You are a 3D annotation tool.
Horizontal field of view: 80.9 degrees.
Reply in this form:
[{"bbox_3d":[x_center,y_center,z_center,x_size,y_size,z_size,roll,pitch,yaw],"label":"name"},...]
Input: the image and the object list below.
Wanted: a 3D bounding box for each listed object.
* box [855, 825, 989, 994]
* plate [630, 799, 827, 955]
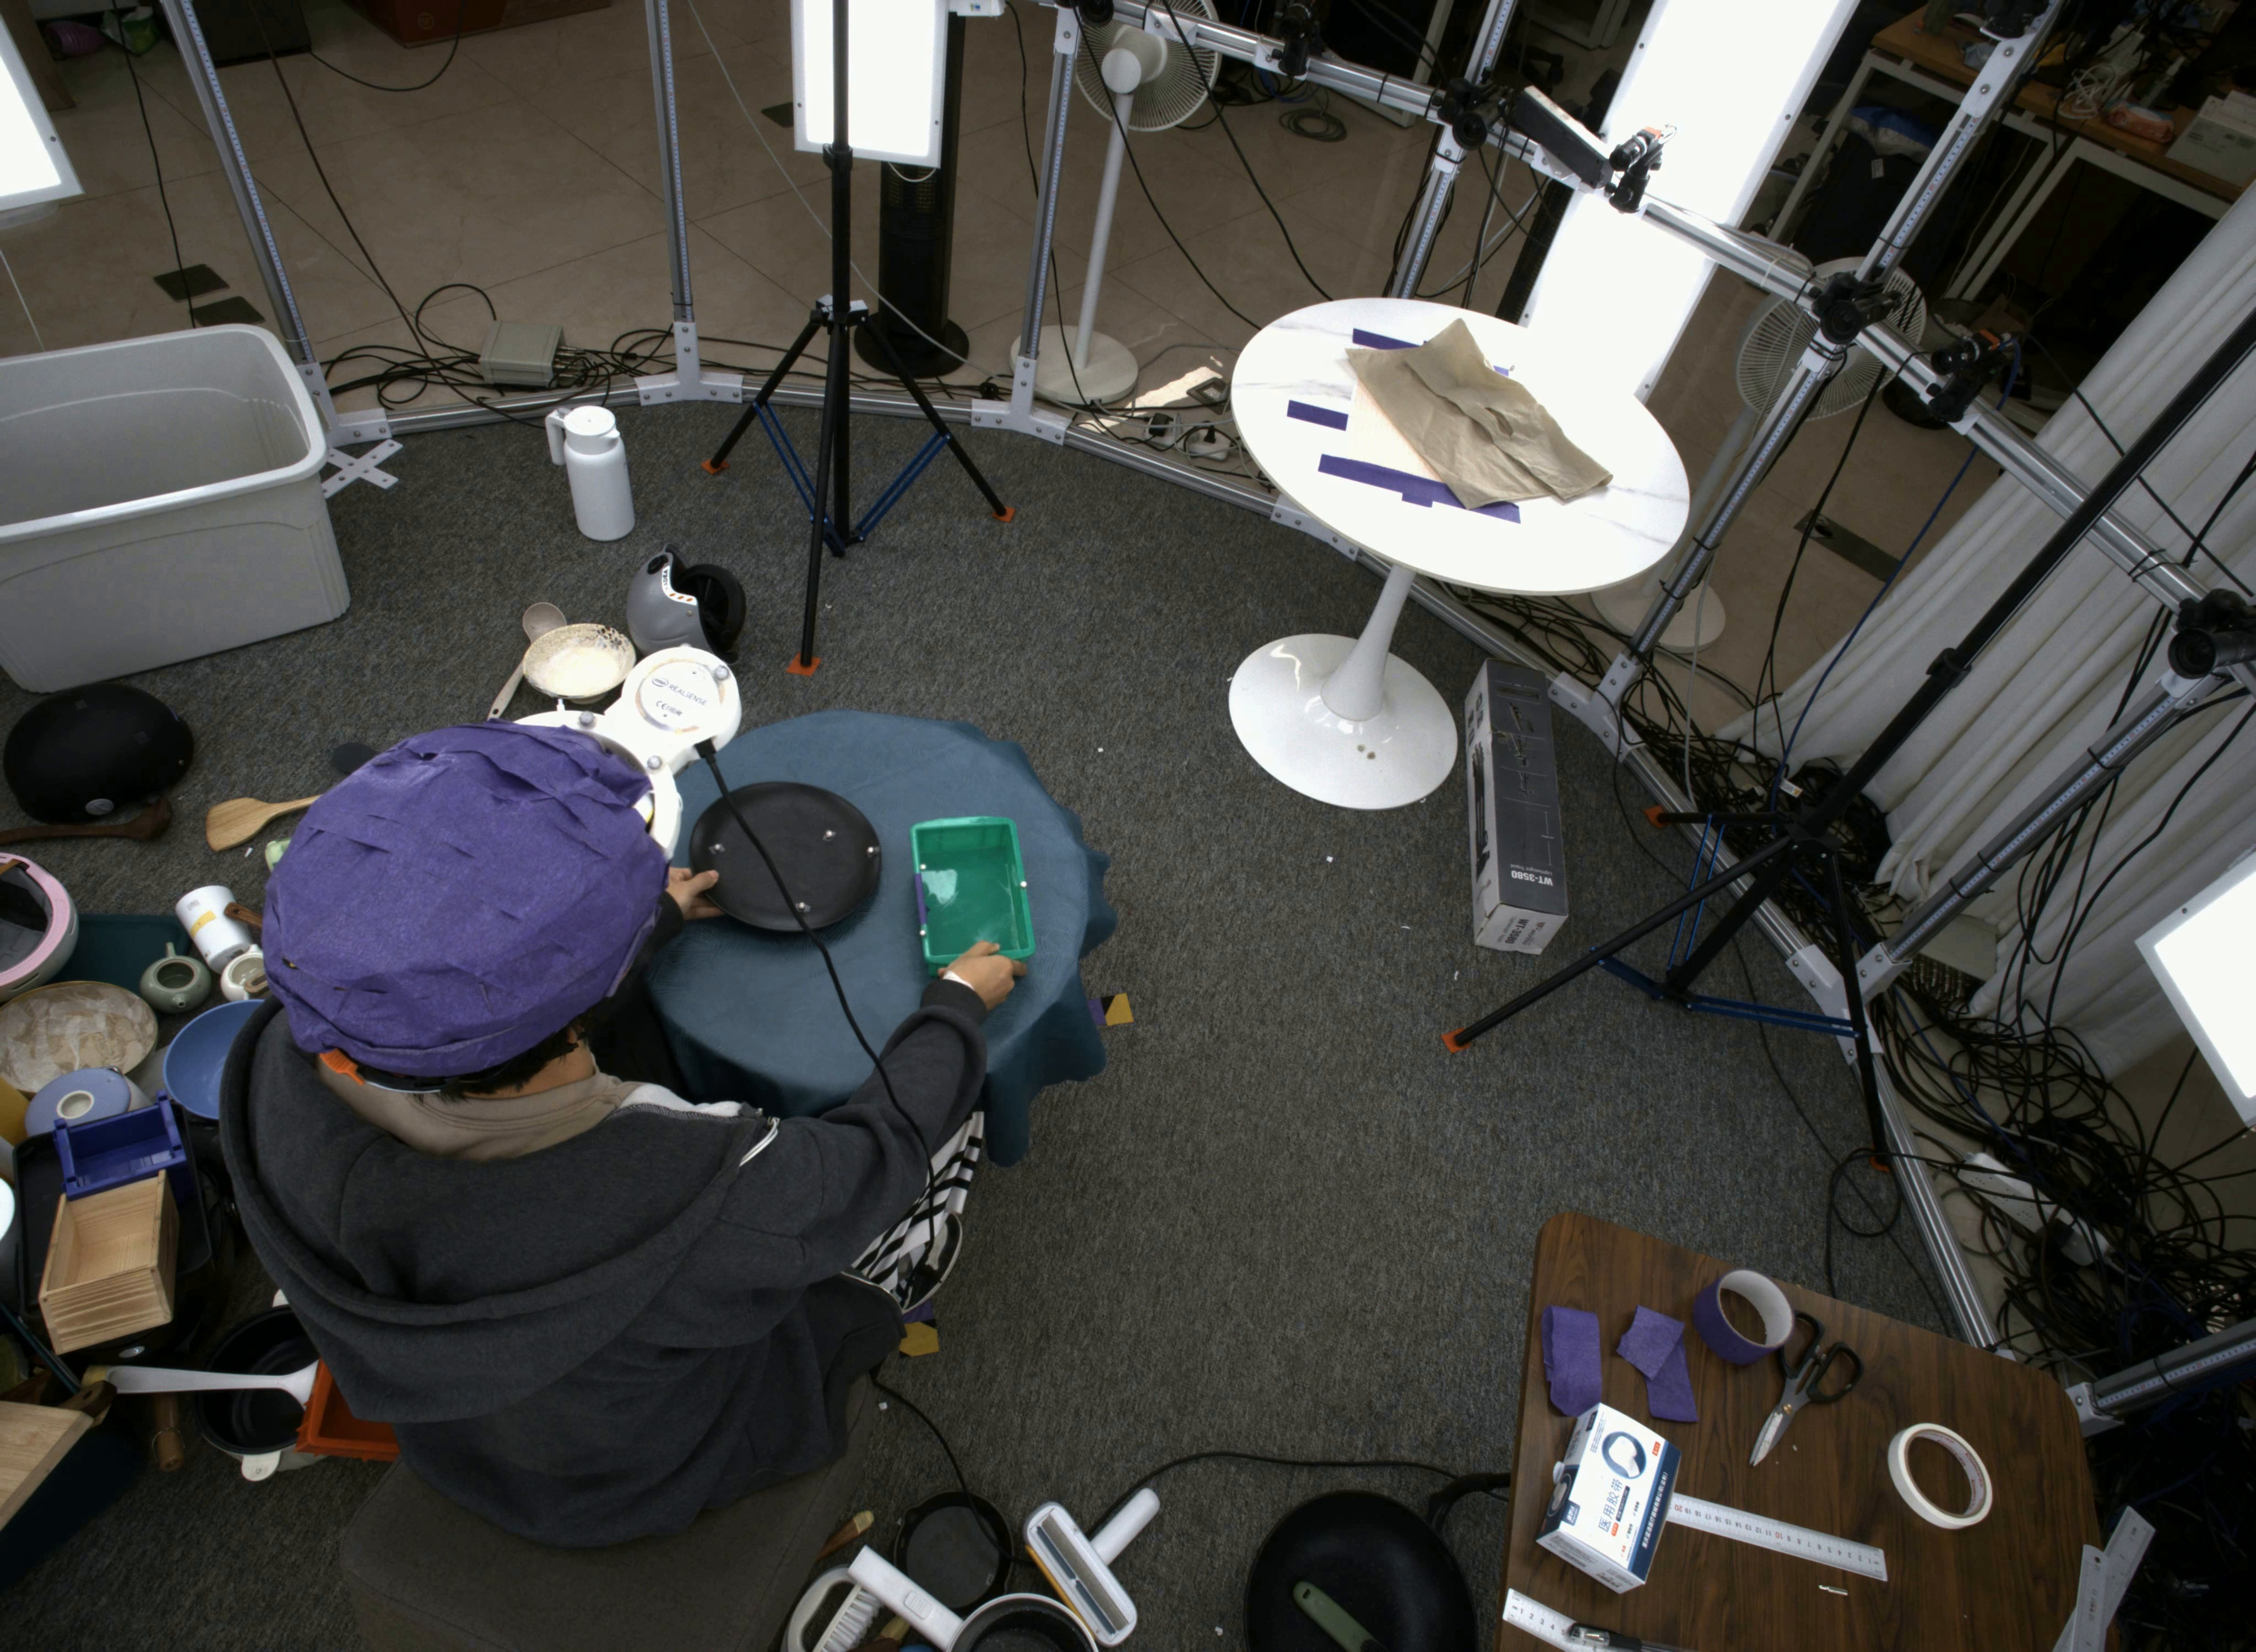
[{"bbox_3d":[-0.262,0.106,1.640,0.139,0.066,0.207,-9,64,-17],"label":"box"},{"bbox_3d":[-0.504,0.064,1.632,0.245,0.024,0.240,13,49,-13],"label":"plate"}]
